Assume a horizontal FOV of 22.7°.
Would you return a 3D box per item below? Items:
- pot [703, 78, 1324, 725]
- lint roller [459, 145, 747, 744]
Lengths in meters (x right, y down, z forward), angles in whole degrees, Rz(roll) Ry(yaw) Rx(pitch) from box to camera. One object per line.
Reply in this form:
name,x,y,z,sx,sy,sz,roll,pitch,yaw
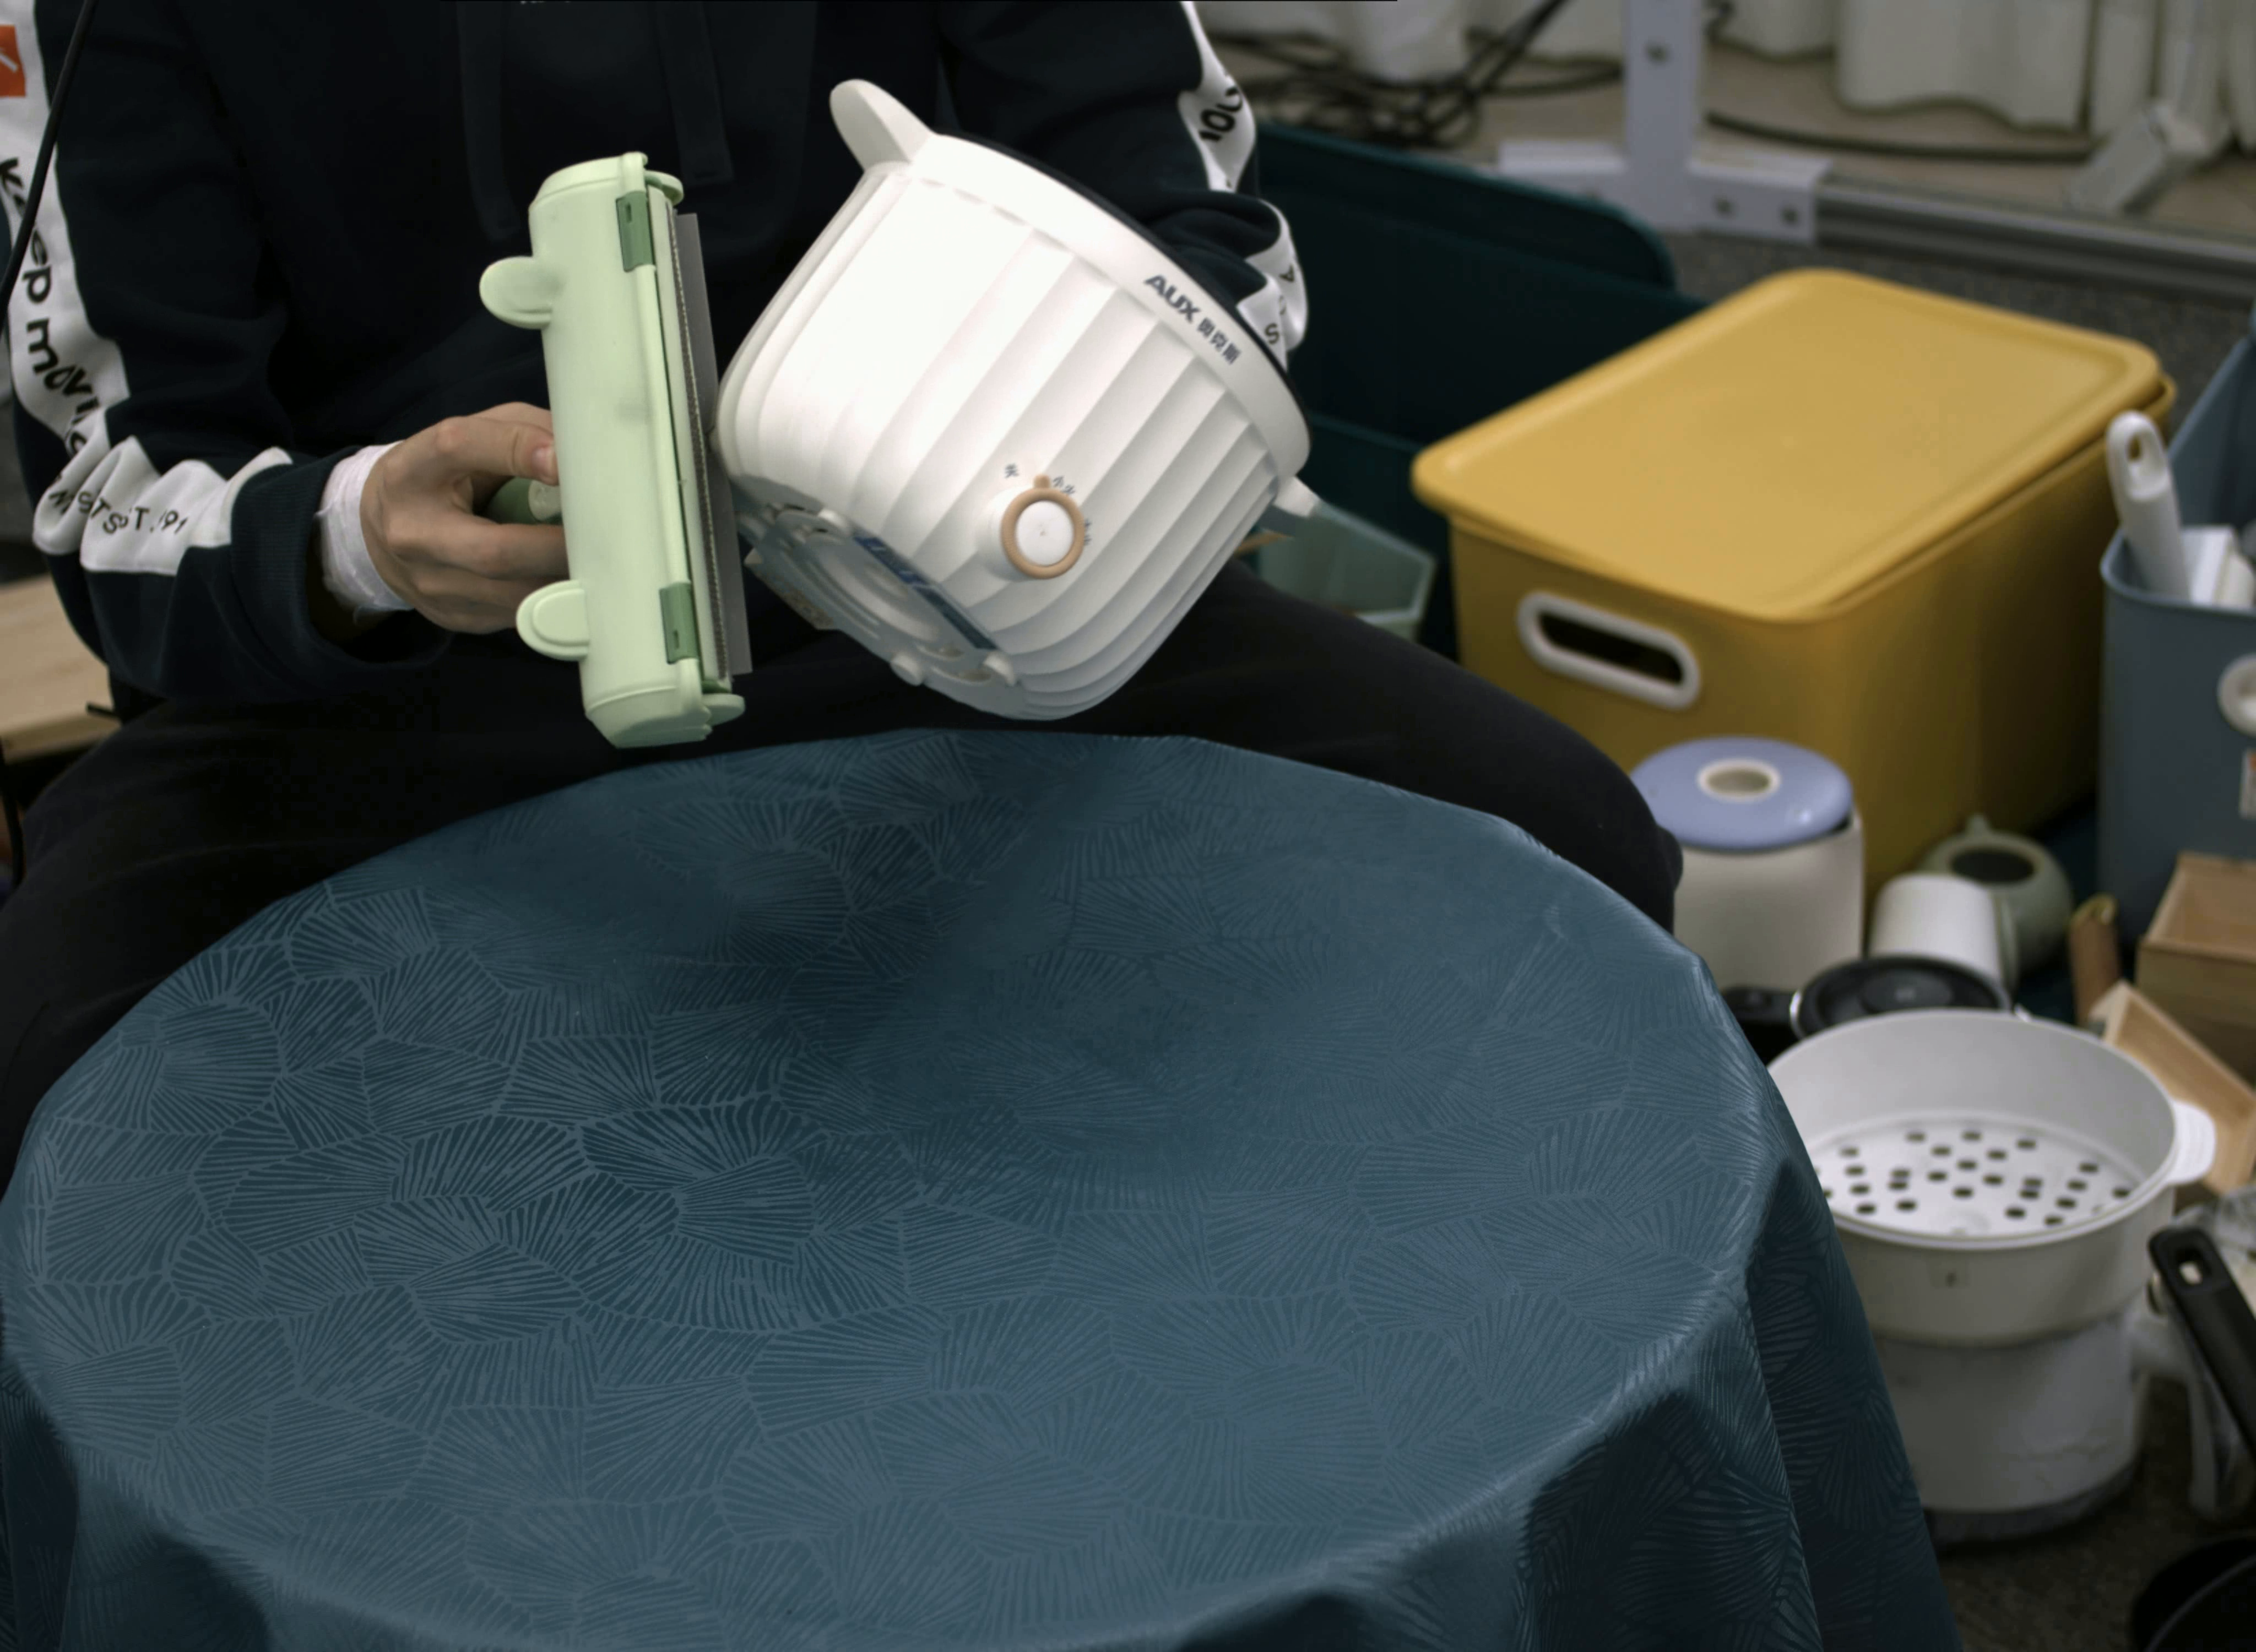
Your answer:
pot,-0.047,-0.127,1.926,0.144,0.239,0.189,-56,22,-18
lint roller,-0.204,-0.116,1.938,0.082,0.201,0.181,2,-14,-38
